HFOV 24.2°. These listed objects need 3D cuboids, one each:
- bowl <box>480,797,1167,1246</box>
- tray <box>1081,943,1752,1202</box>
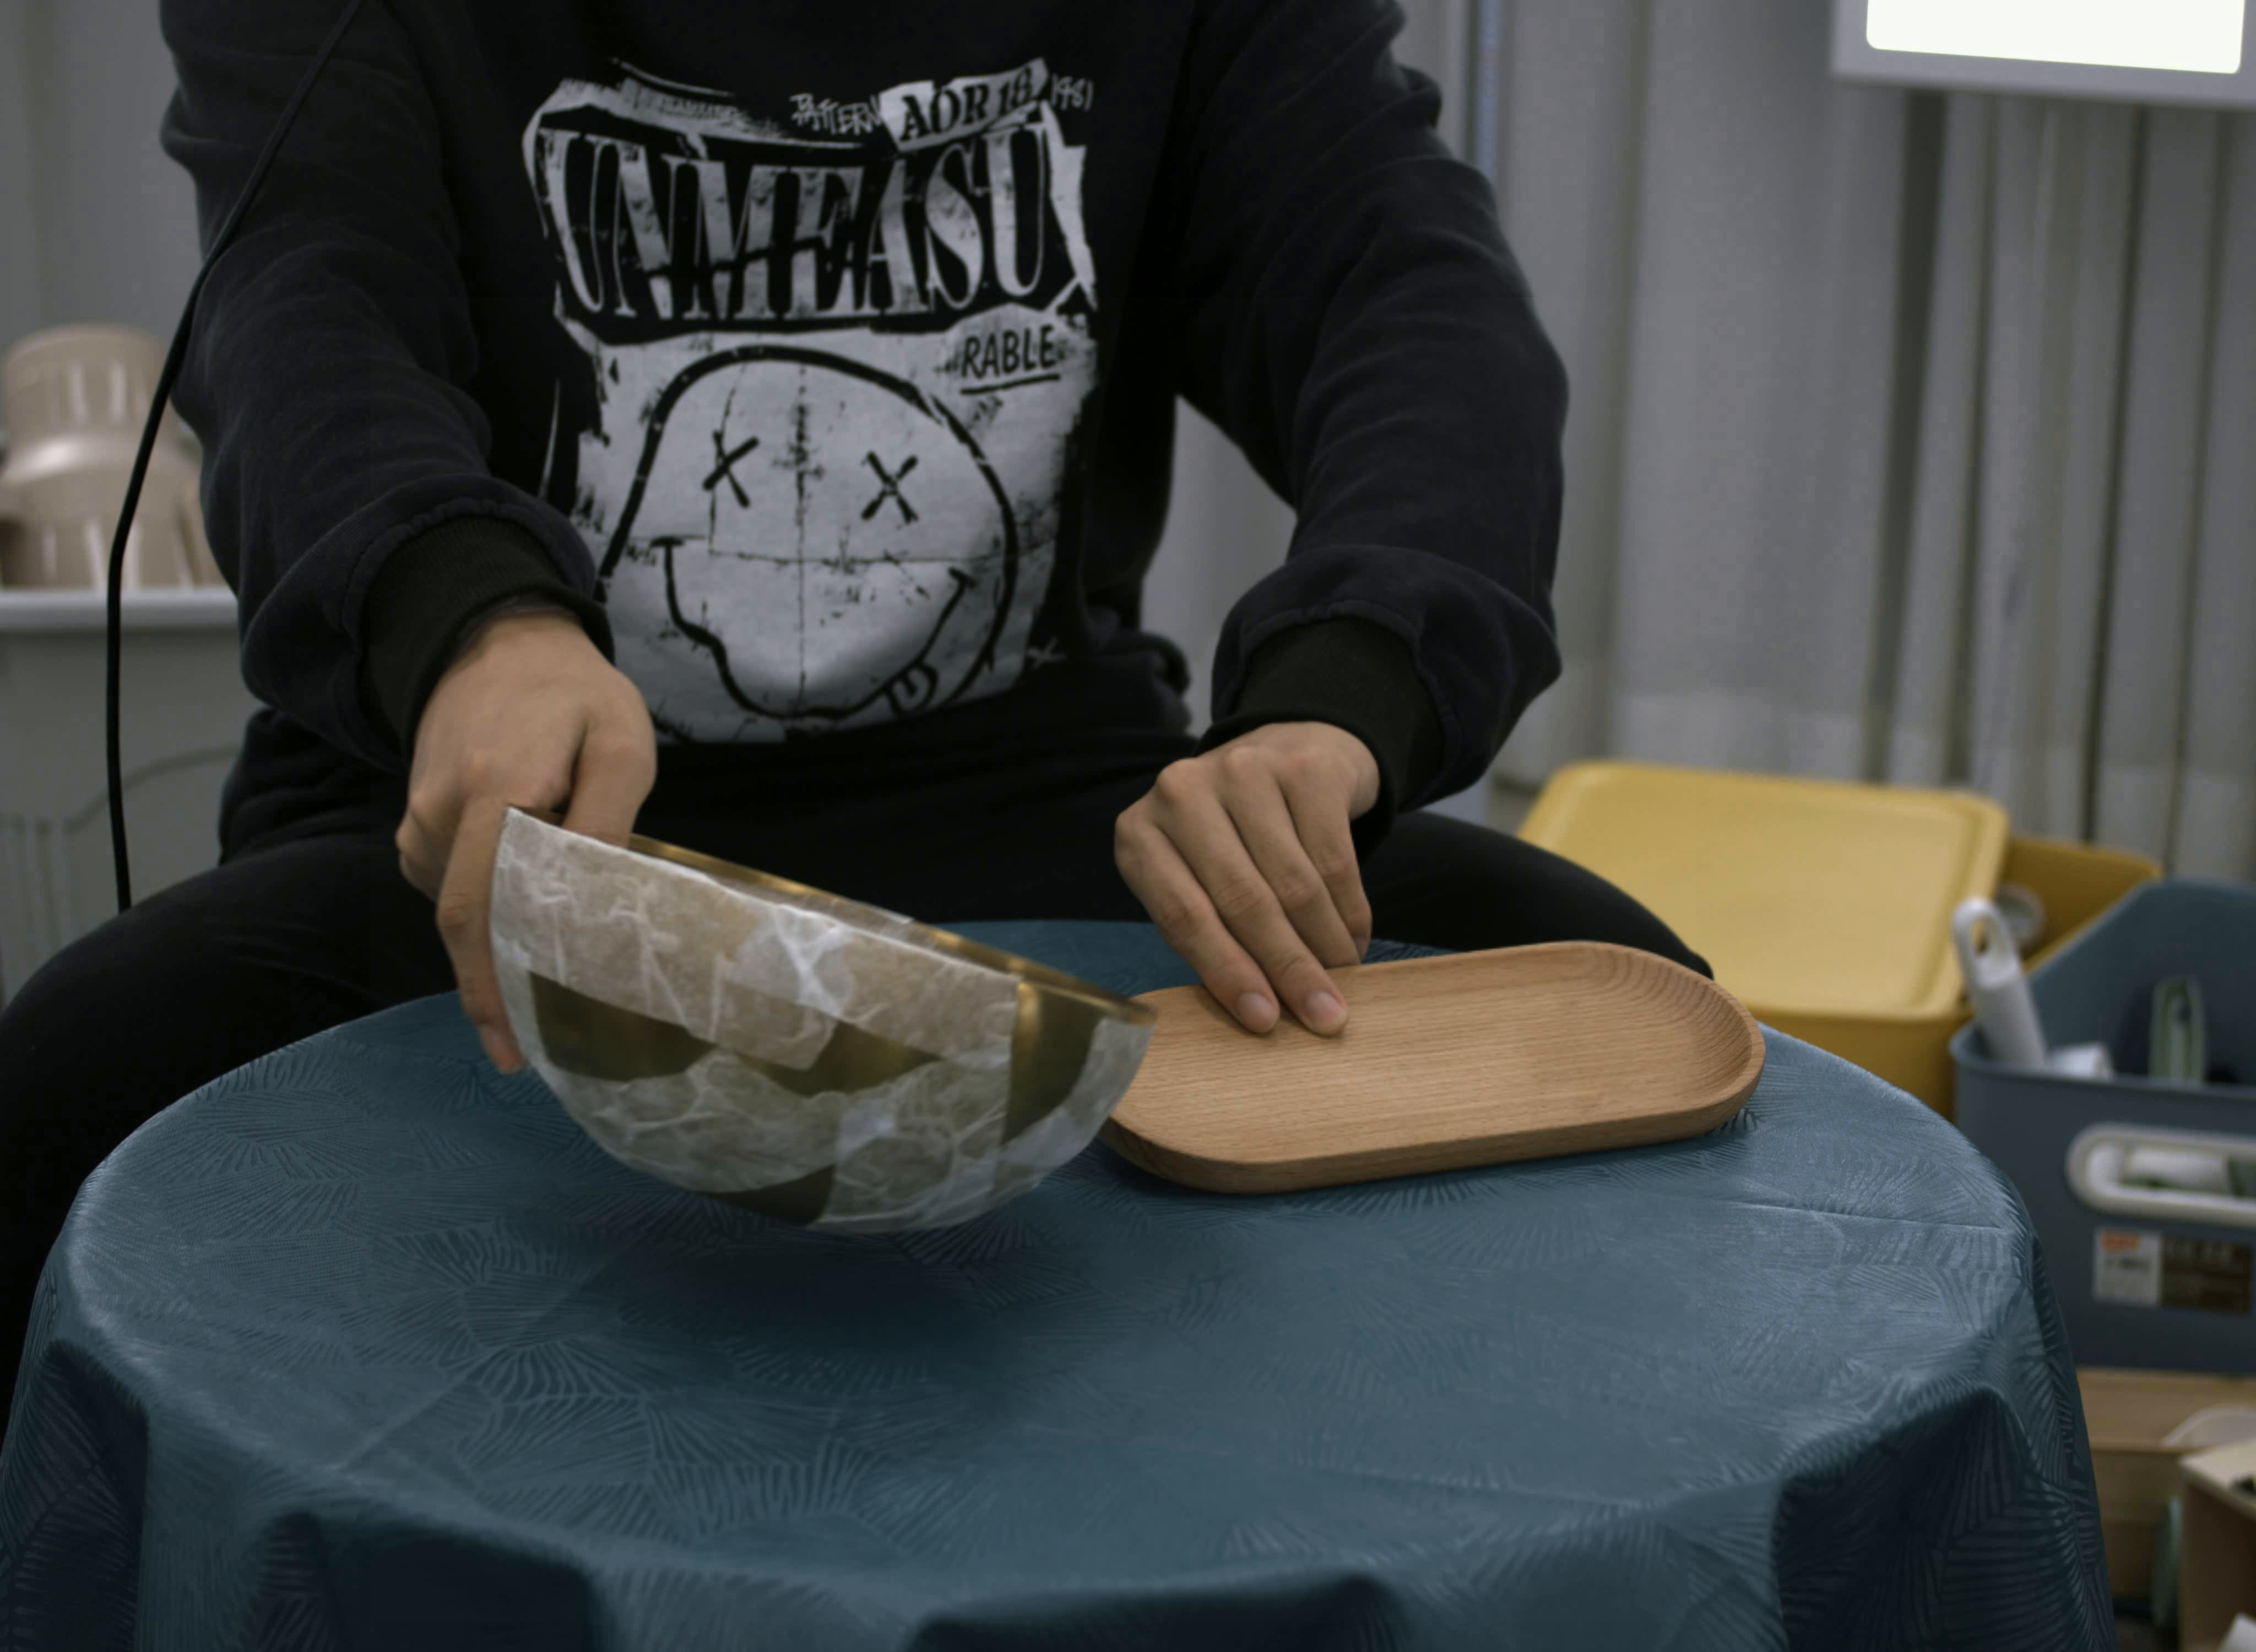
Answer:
[{"bbox_3d":[-0.098,0.069,1.536,0.214,0.095,0.215,18,-1,1],"label":"bowl"},{"bbox_3d":[0.091,0.079,1.680,0.232,0.020,0.100,-8,33,-22],"label":"tray"}]
